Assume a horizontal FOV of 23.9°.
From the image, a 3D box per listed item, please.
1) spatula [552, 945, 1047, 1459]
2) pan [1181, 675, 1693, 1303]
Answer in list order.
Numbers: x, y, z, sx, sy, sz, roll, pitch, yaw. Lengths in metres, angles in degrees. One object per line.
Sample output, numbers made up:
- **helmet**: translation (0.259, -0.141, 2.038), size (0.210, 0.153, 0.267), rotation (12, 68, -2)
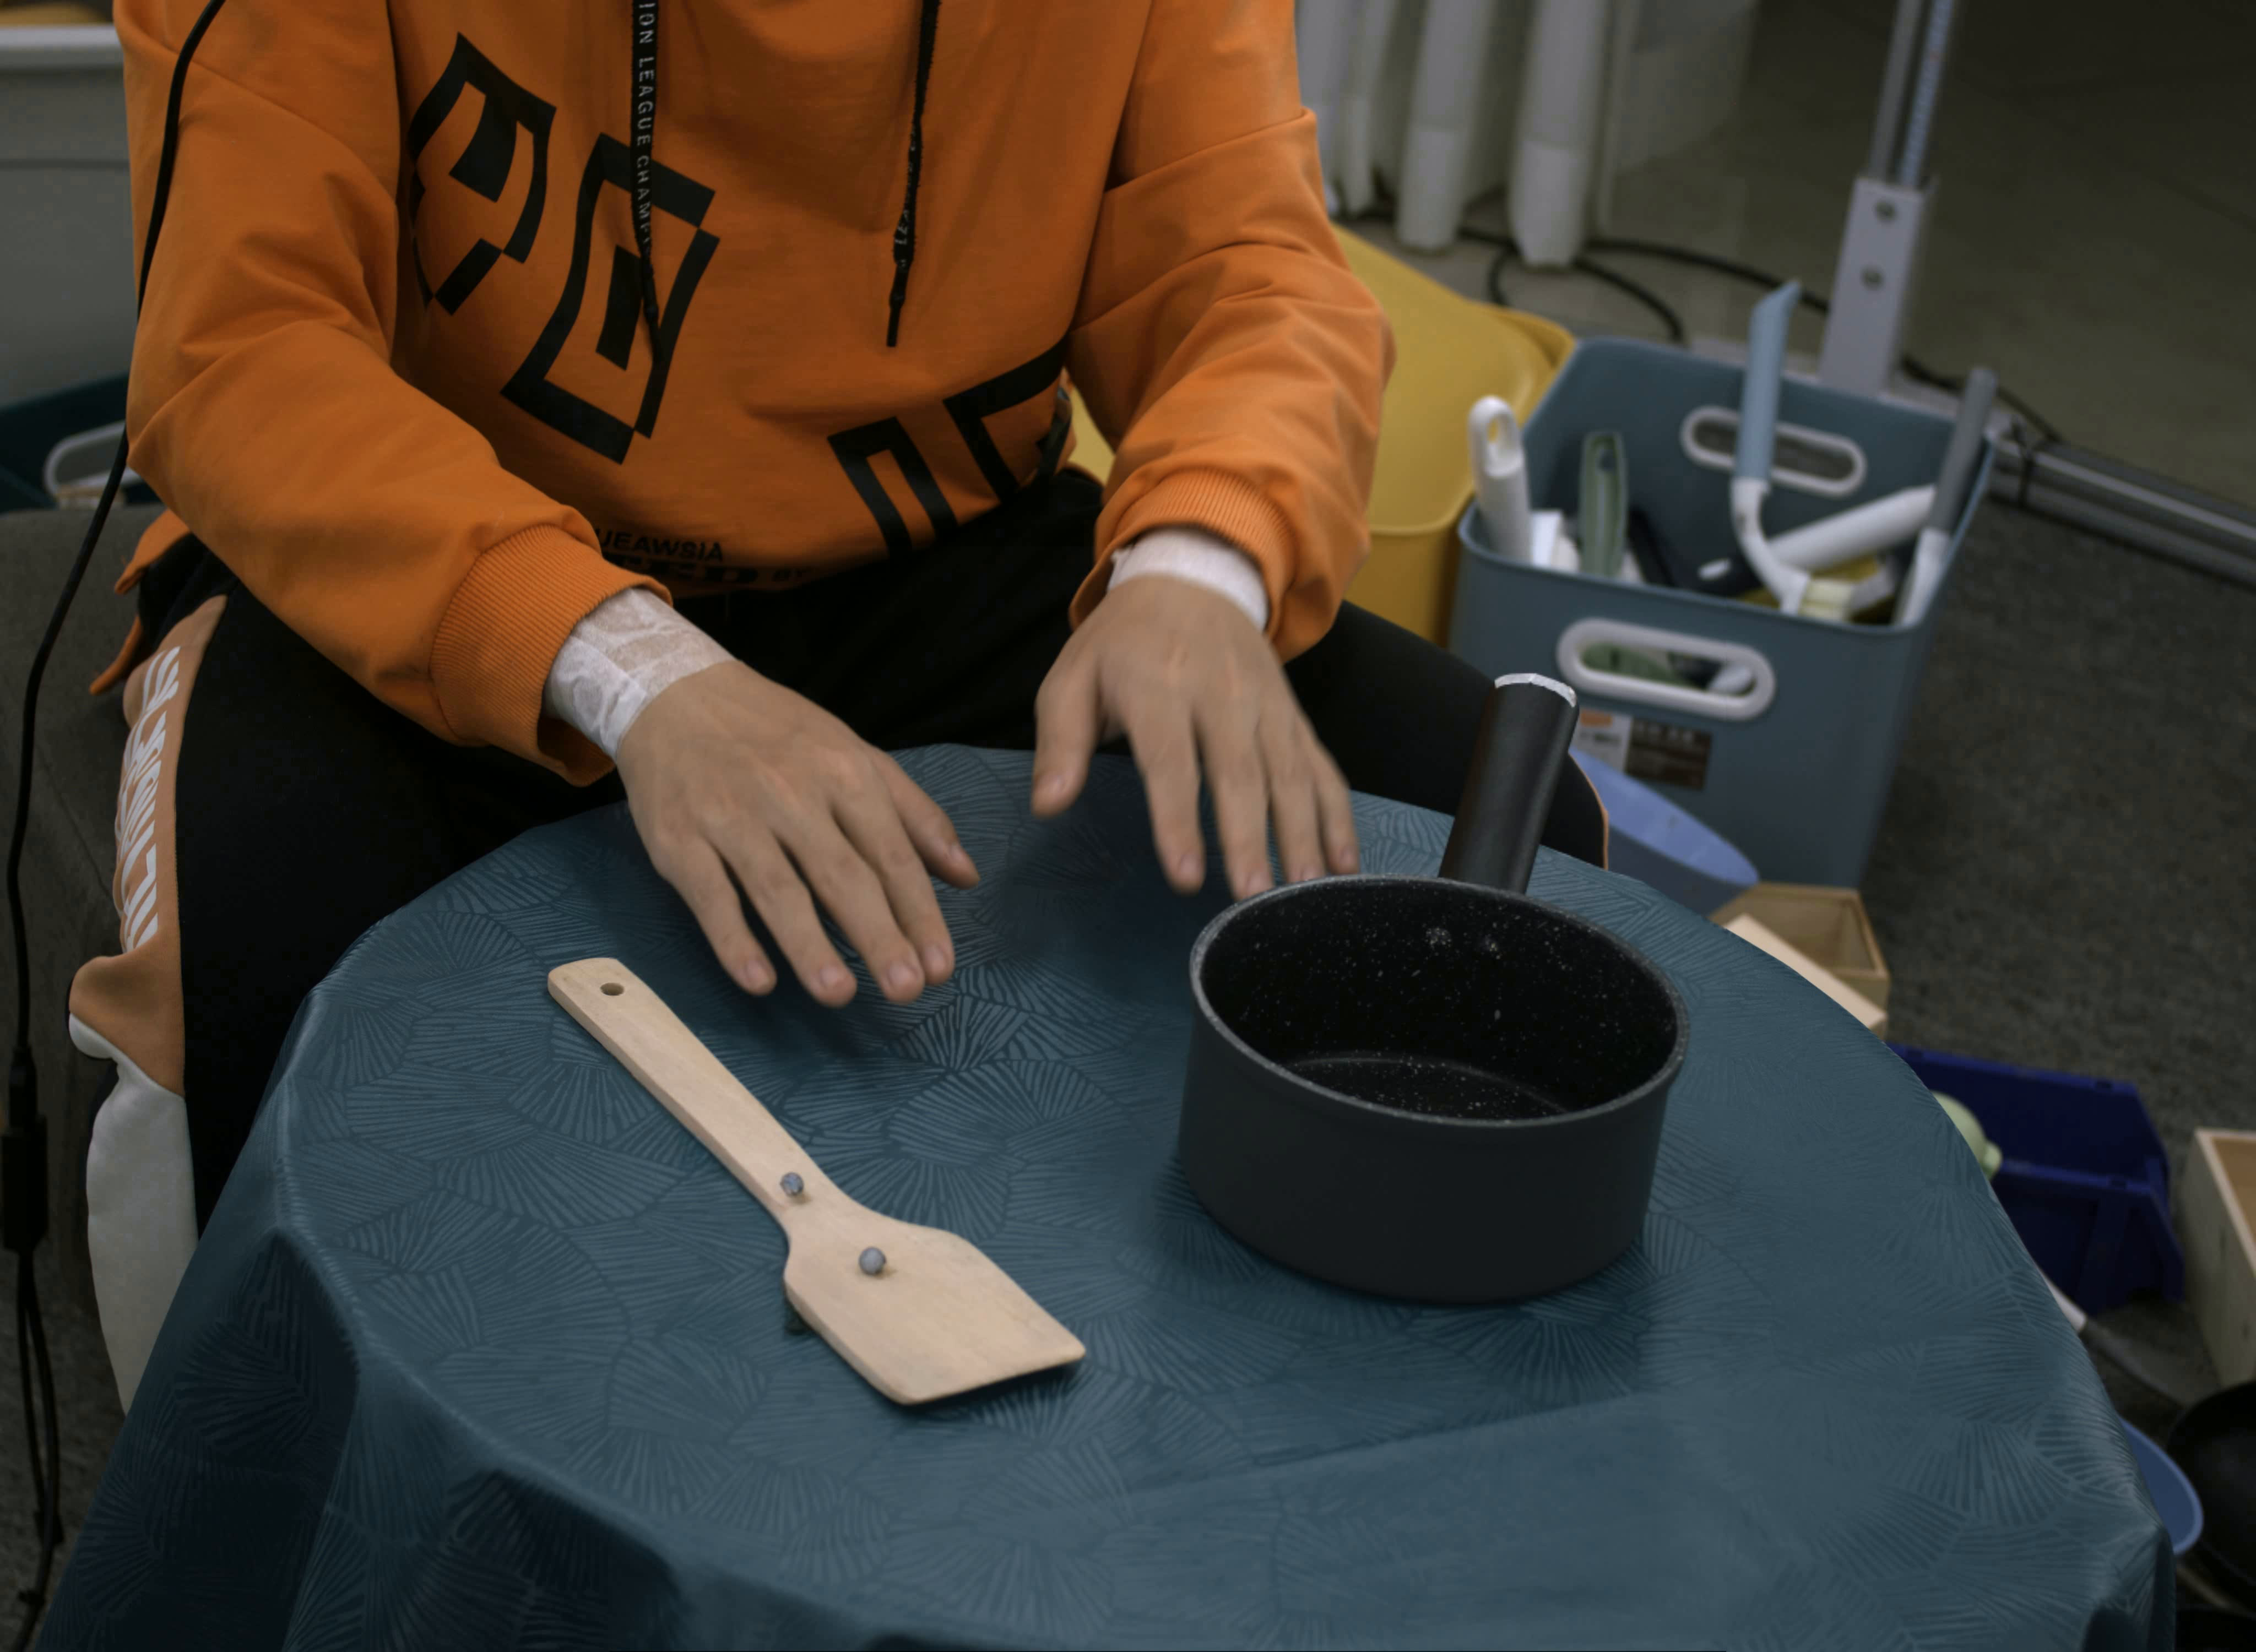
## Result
- **spatula**: translation (-0.126, 0.121, 1.797), size (0.072, 0.010, 0.296), rotation (-17, 38, -24)
- **pan**: translation (0.120, 0.052, 1.877), size (0.172, 0.086, 0.329), rotation (13, 29, 10)
